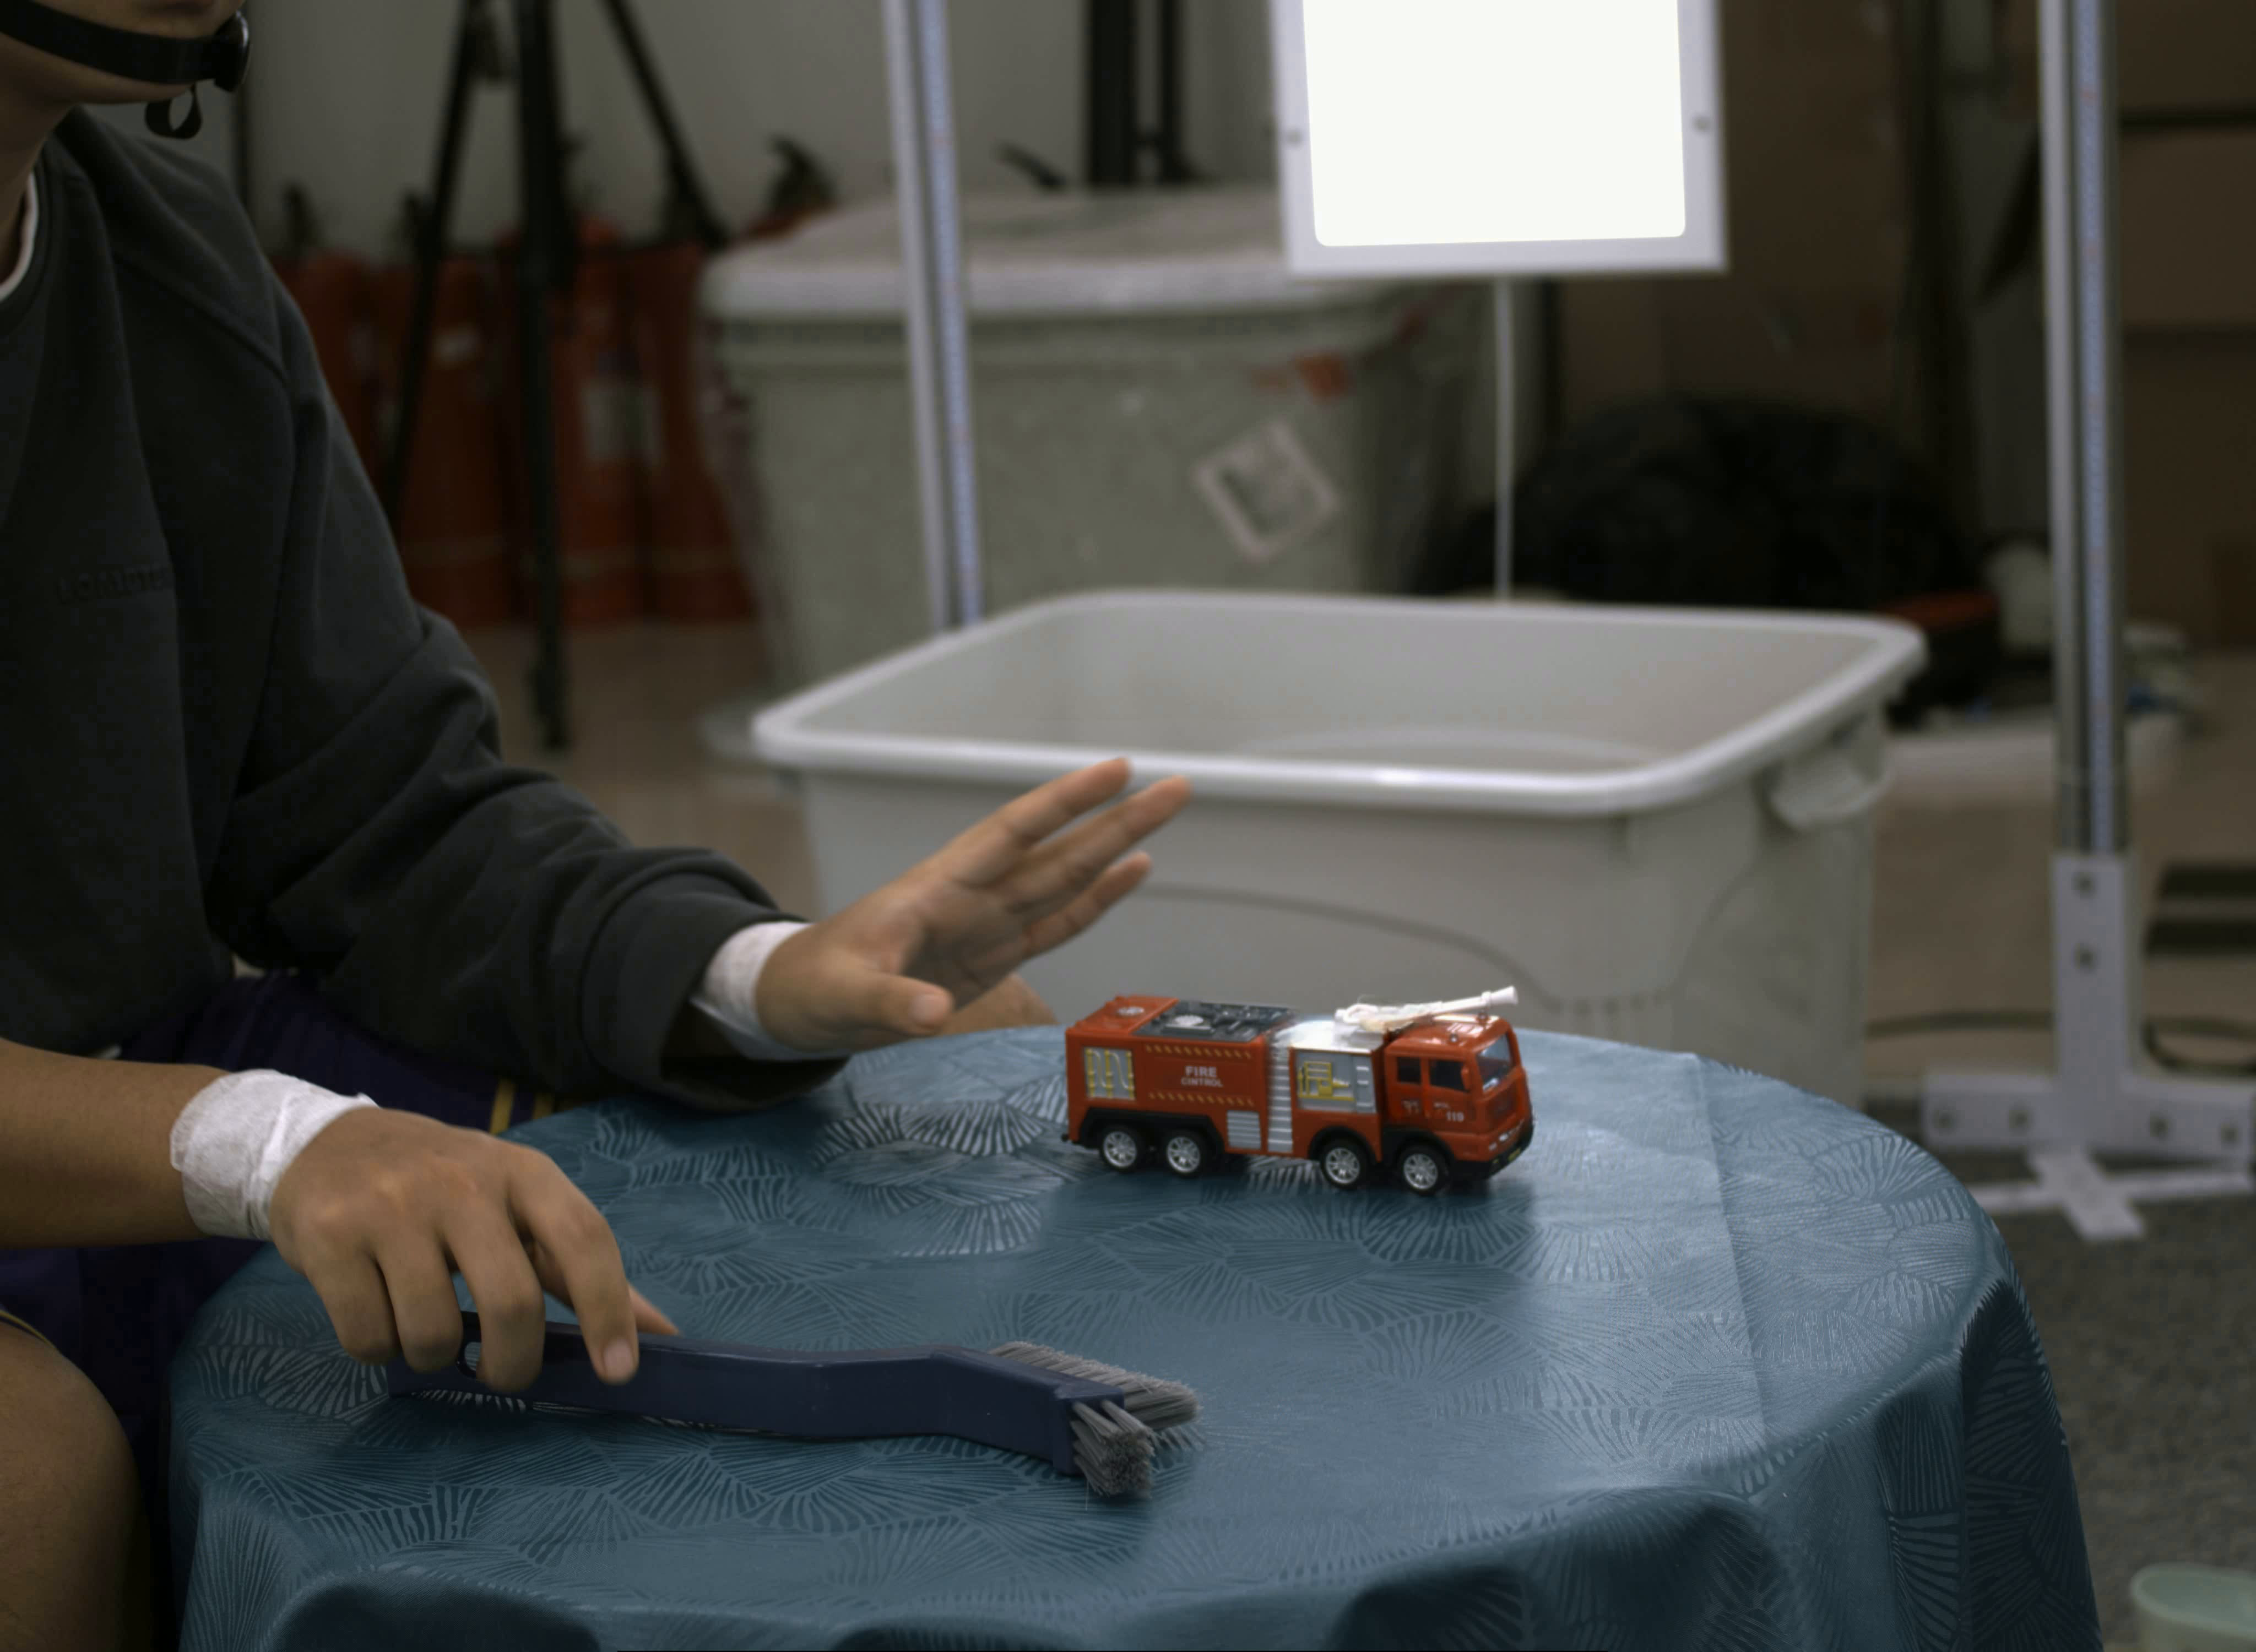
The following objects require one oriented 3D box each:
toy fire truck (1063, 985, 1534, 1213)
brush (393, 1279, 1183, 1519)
[{"bbox_3d":[0.059,0.090,1.899,0.171,0.070,0.053,2,16,27],"label":"toy fire truck"},{"bbox_3d":[-0.115,0.172,1.684,0.277,0.033,0.094,2,15,22],"label":"brush"}]
